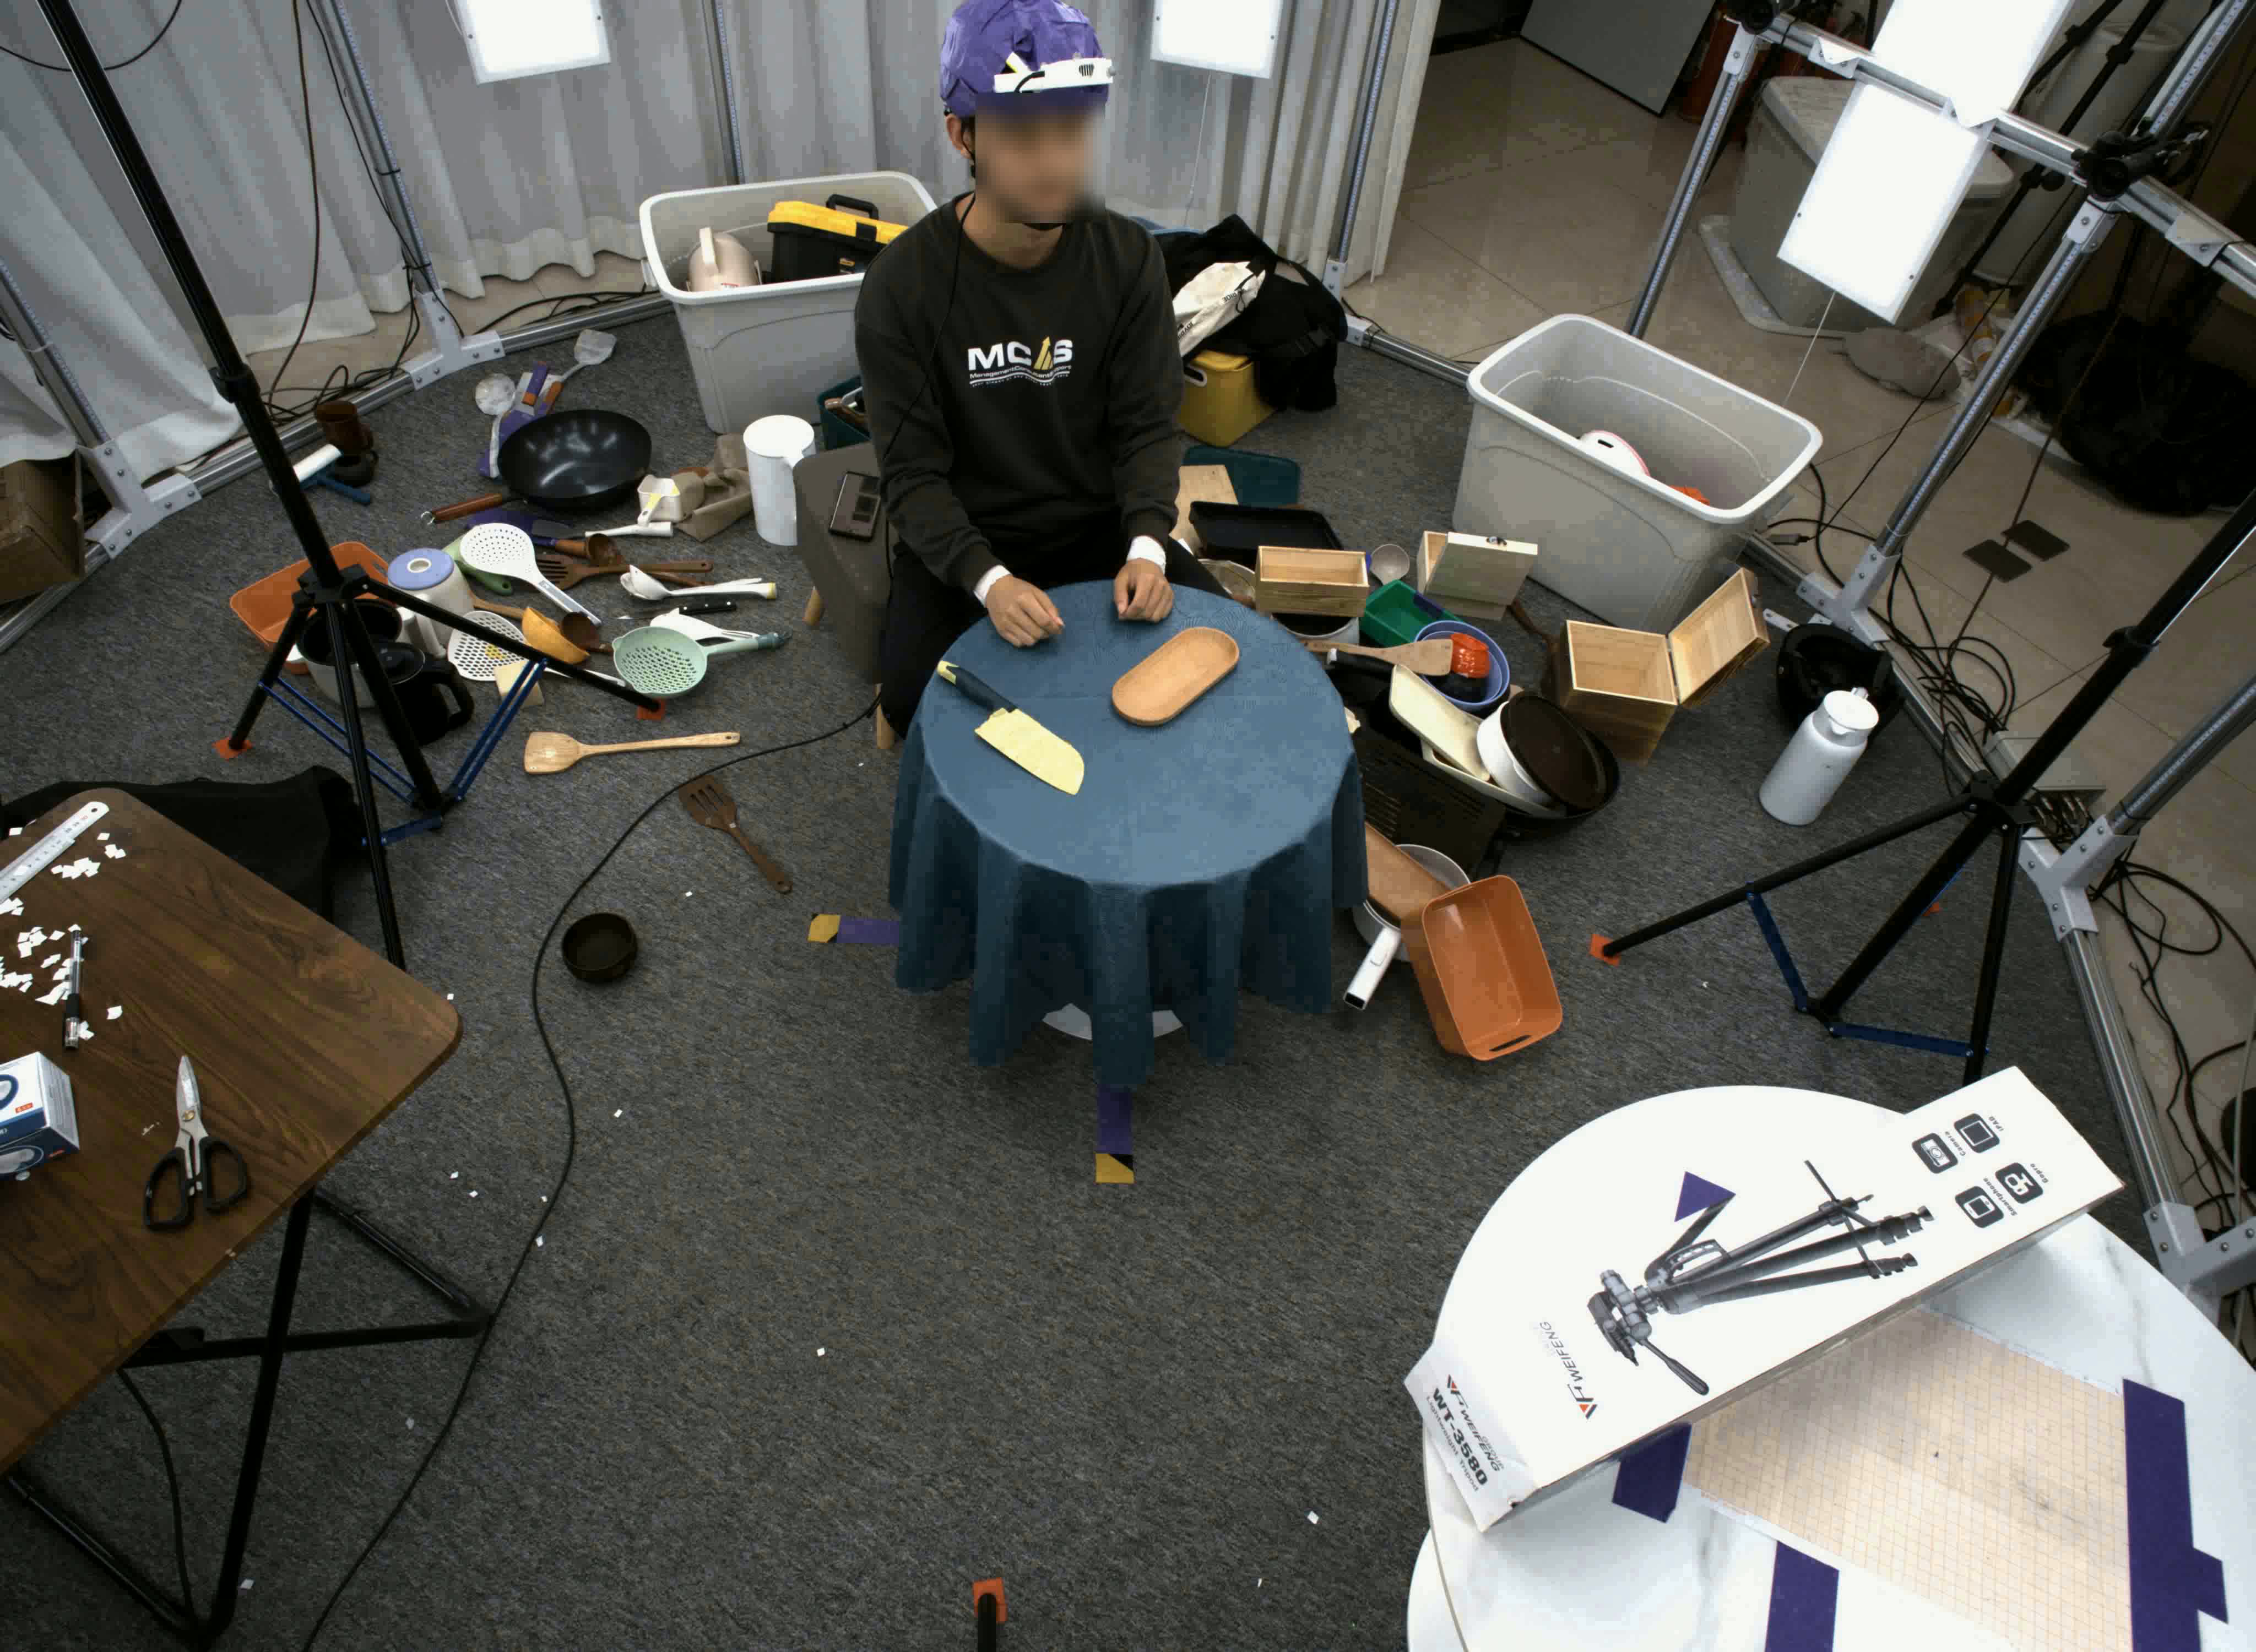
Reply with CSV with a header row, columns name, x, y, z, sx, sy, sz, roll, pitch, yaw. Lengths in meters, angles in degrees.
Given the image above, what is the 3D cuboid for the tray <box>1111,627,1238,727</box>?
name,x,y,z,sx,sy,sz,roll,pitch,yaw
tray,0.069,-0.216,1.849,0.103,0.020,0.234,33,56,24

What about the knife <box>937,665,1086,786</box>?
name,x,y,z,sx,sy,sz,roll,pitch,yaw
knife,-0.167,-0.137,1.765,0.293,0.026,0.082,37,55,24
